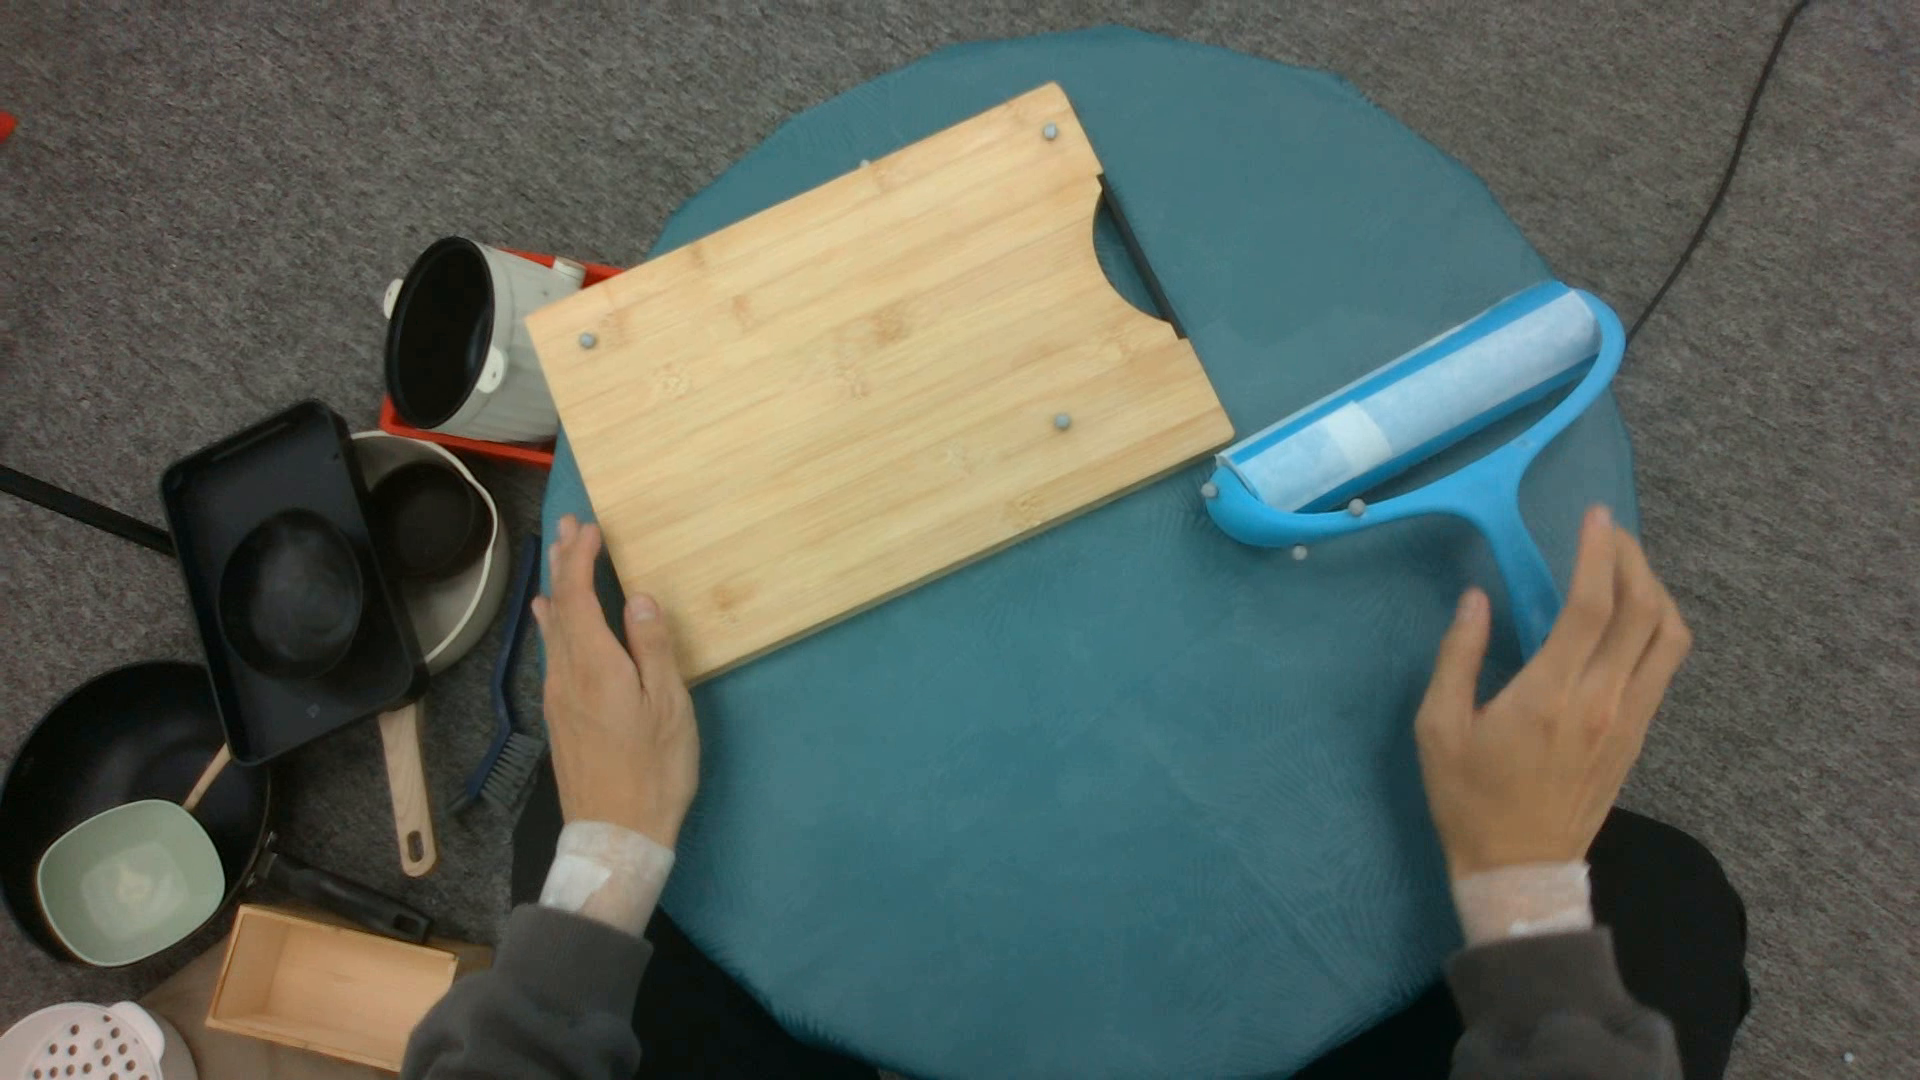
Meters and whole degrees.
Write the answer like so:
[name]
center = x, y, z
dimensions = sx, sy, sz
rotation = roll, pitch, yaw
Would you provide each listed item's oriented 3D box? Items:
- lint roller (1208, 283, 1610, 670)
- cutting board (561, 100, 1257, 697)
[lint roller]
center = 0.265, -0.018, 0.715
dimensions = 0.229, 0.068, 0.180
rotation = -32, 73, -2
[cutting board]
center = -0.039, -0.087, 0.793
dimensions = 0.348, 0.023, 0.251
rotation = -24, 74, 0
